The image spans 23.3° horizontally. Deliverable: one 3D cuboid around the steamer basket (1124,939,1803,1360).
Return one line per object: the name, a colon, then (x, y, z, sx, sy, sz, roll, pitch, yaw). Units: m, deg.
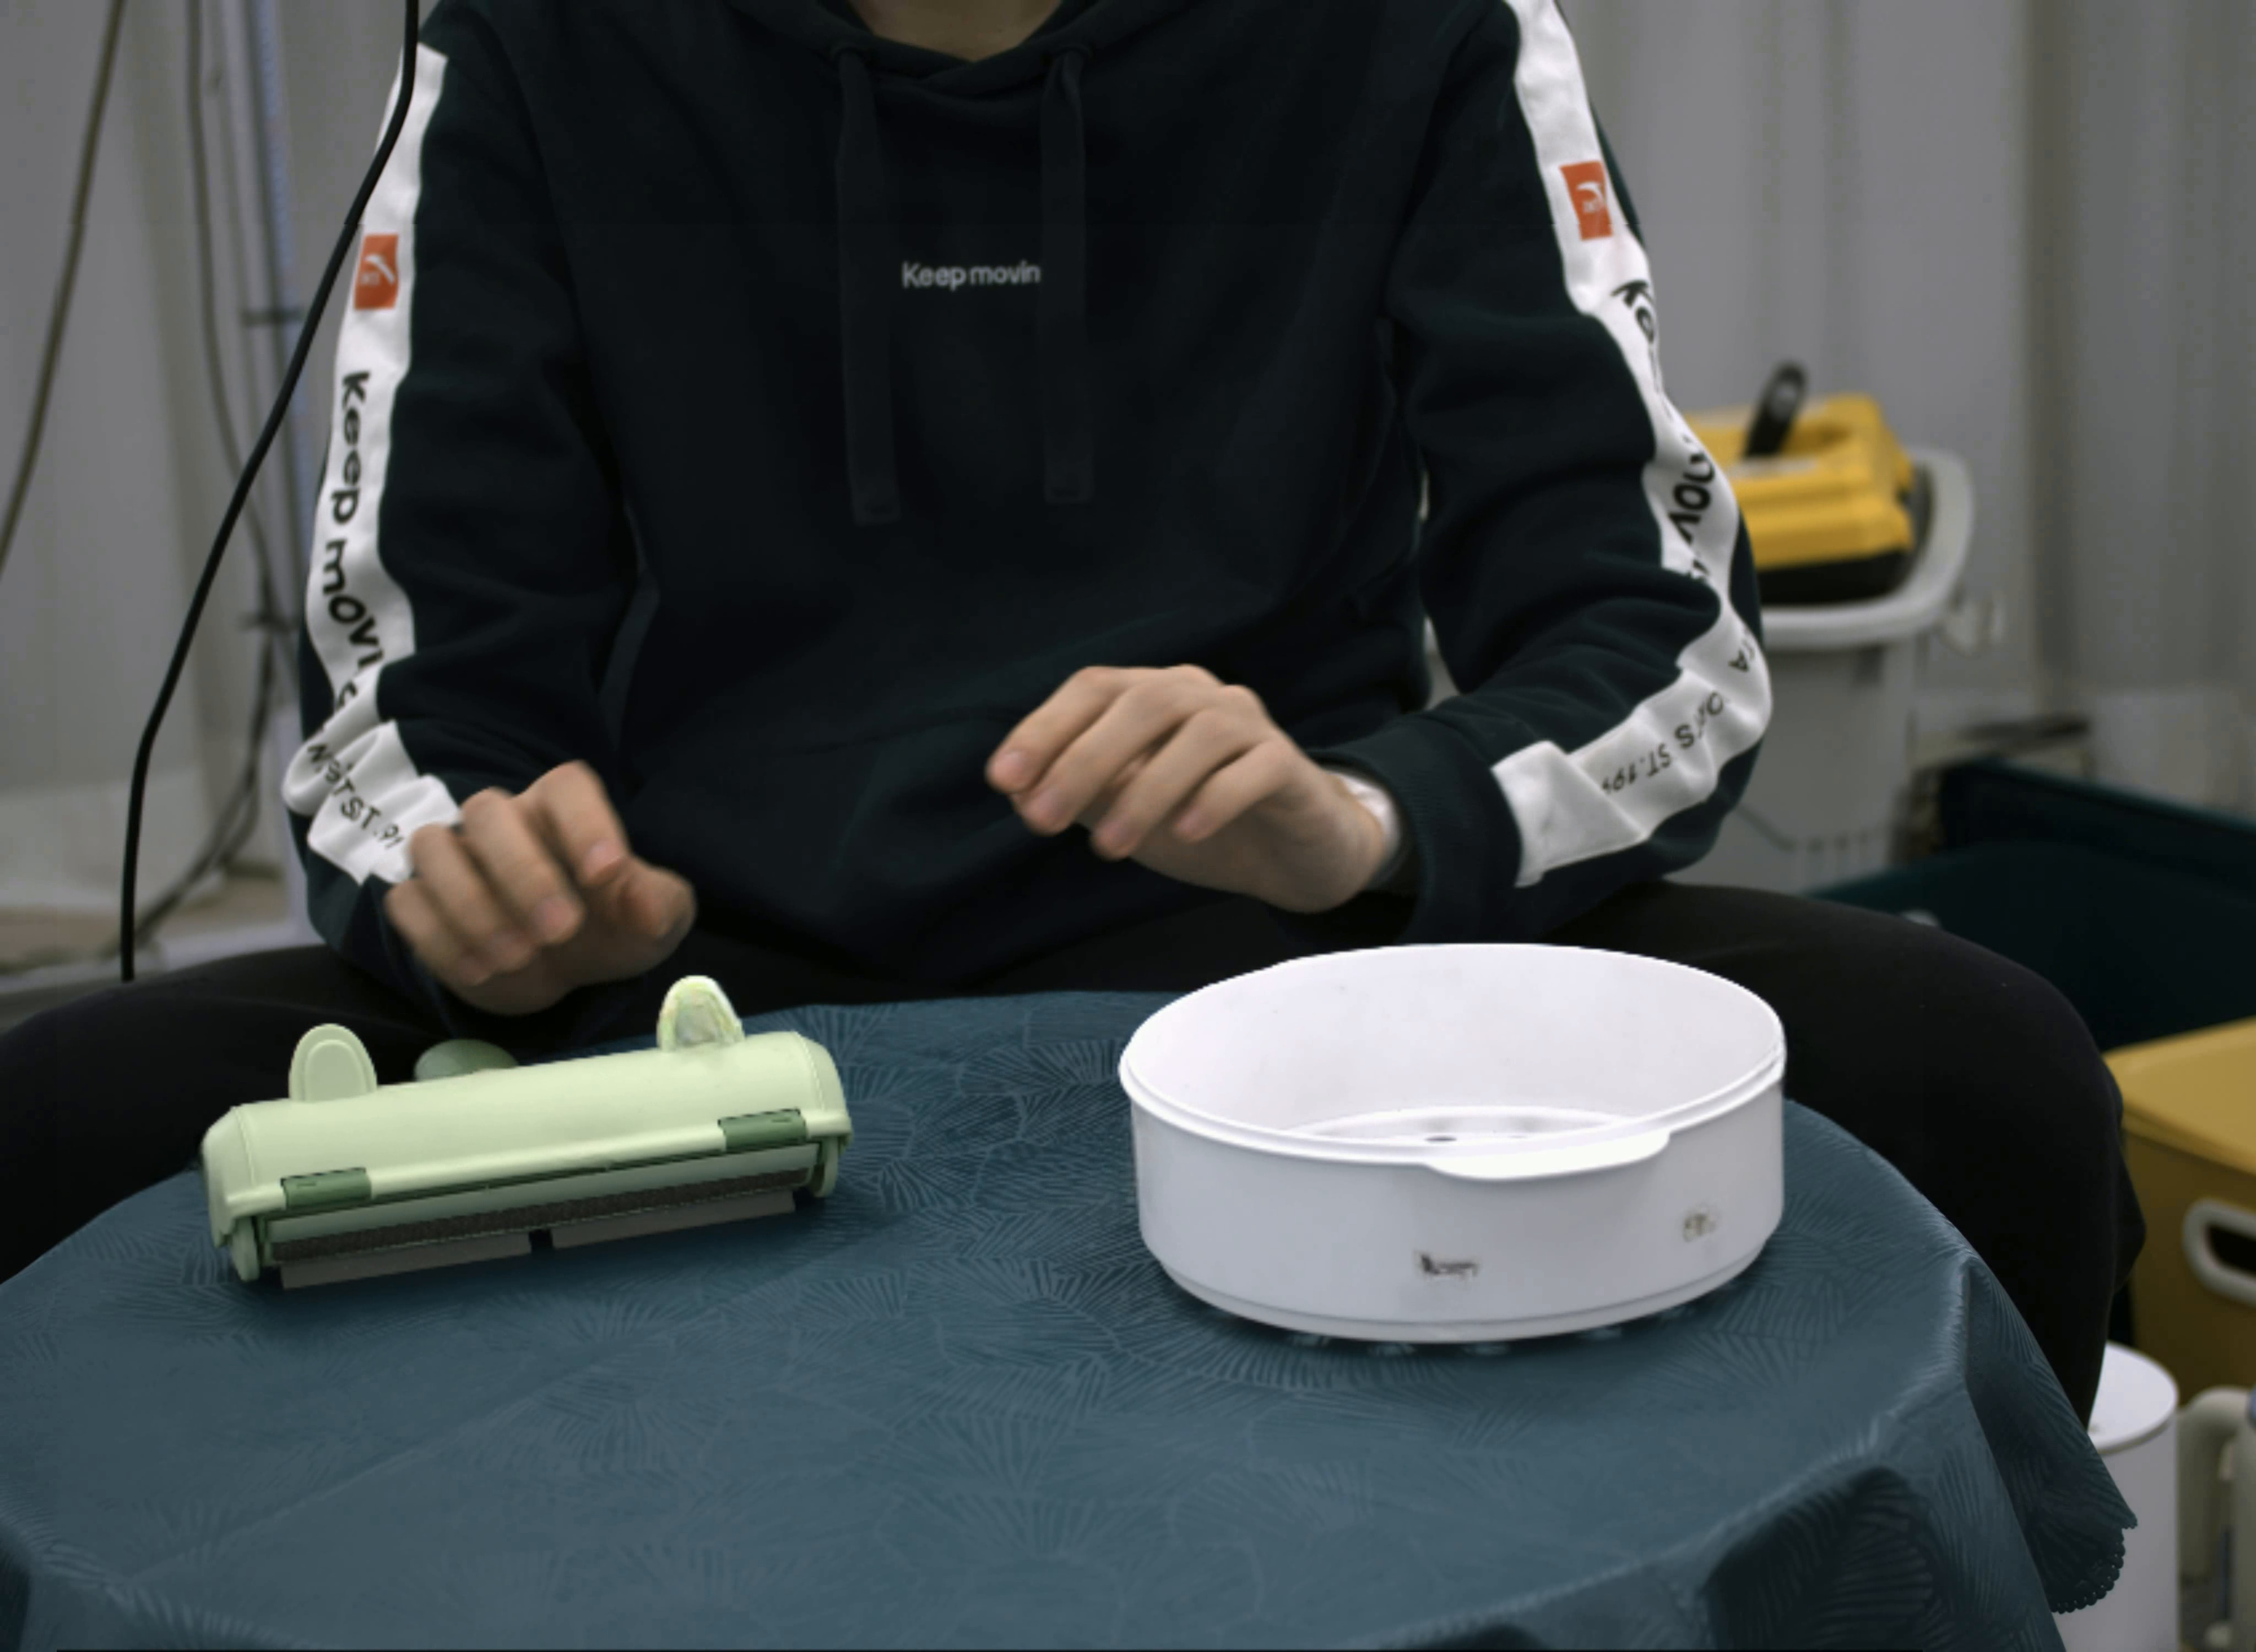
steamer basket: (0.101, 0.096, 1.630, 0.201, 0.069, 0.232, -7, 17, -12)

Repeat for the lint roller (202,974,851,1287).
lint roller: (-0.203, 0.079, 1.740, 0.198, 0.082, 0.185, -8, 19, -16)
